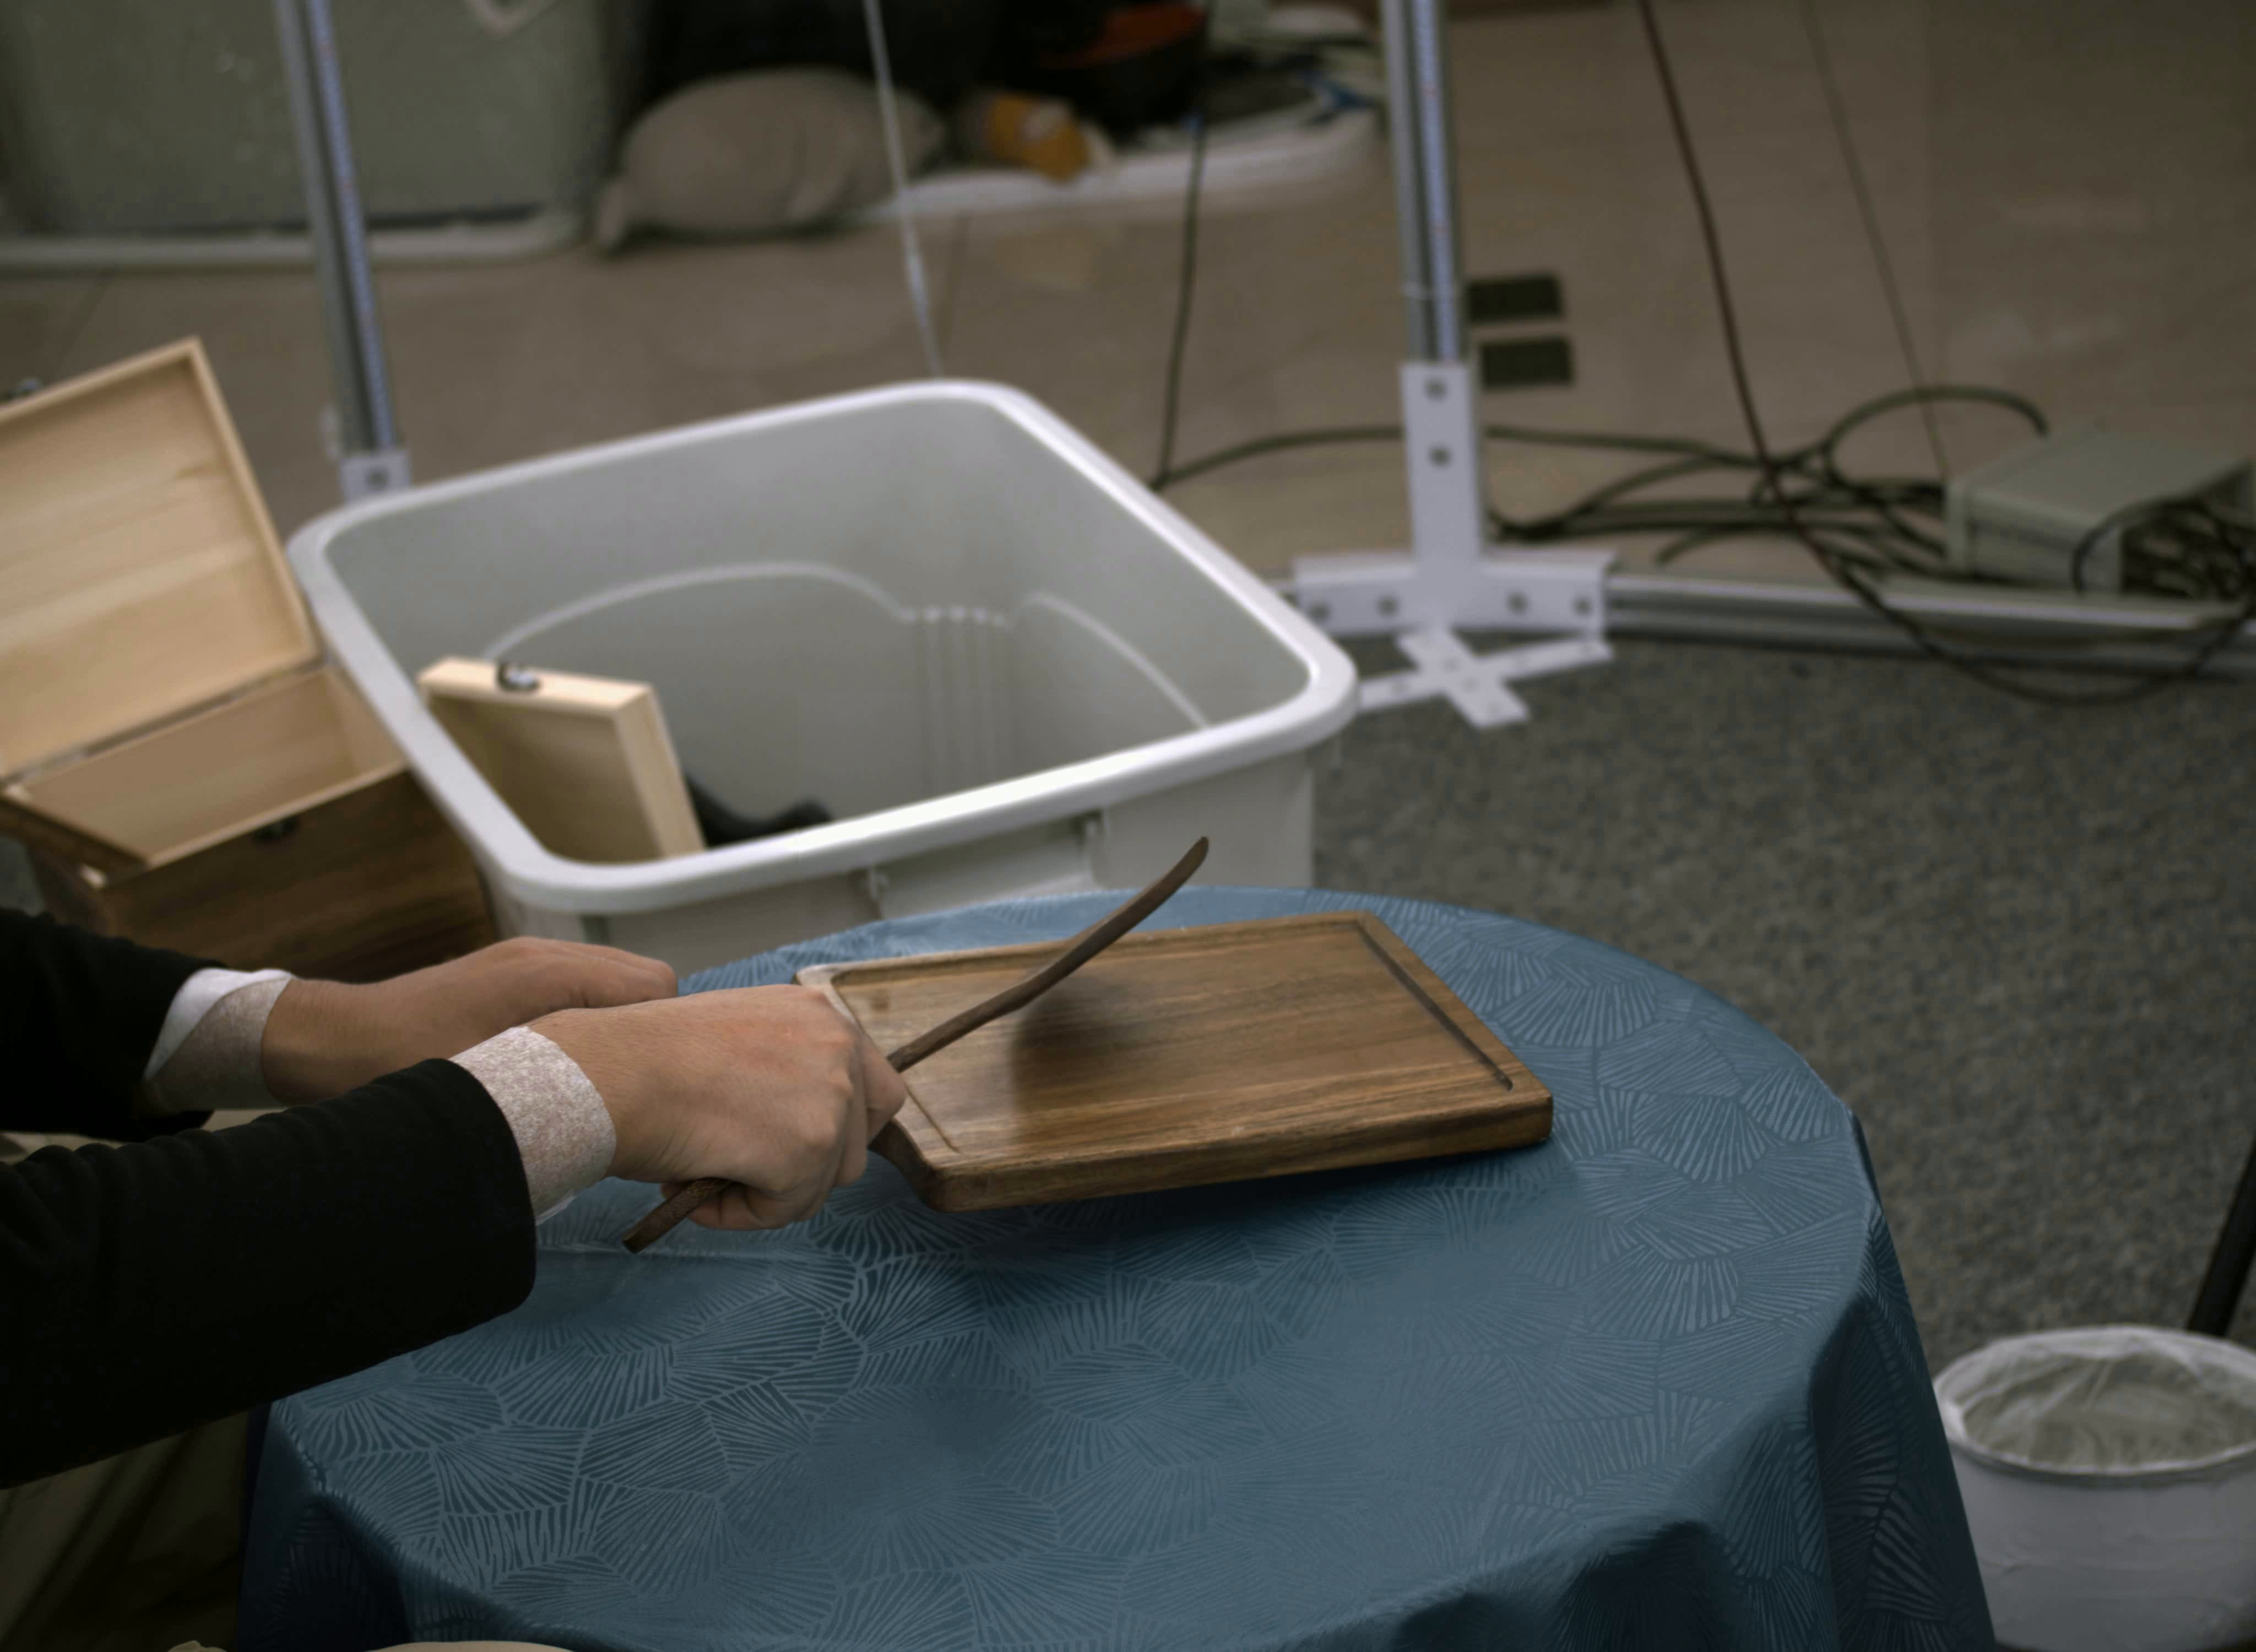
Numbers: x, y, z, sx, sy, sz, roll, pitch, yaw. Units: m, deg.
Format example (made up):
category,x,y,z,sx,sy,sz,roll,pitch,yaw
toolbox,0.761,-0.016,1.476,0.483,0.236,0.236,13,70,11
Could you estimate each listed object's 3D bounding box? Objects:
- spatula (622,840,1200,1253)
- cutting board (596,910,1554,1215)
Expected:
category,x,y,z,sx,sy,sz,roll,pitch,yaw
spatula,-0.080,0.082,2.064,0.097,0.016,0.382,-36,-3,32
cutting board,-0.033,0.092,2.172,0.351,0.023,0.198,-6,23,-19
